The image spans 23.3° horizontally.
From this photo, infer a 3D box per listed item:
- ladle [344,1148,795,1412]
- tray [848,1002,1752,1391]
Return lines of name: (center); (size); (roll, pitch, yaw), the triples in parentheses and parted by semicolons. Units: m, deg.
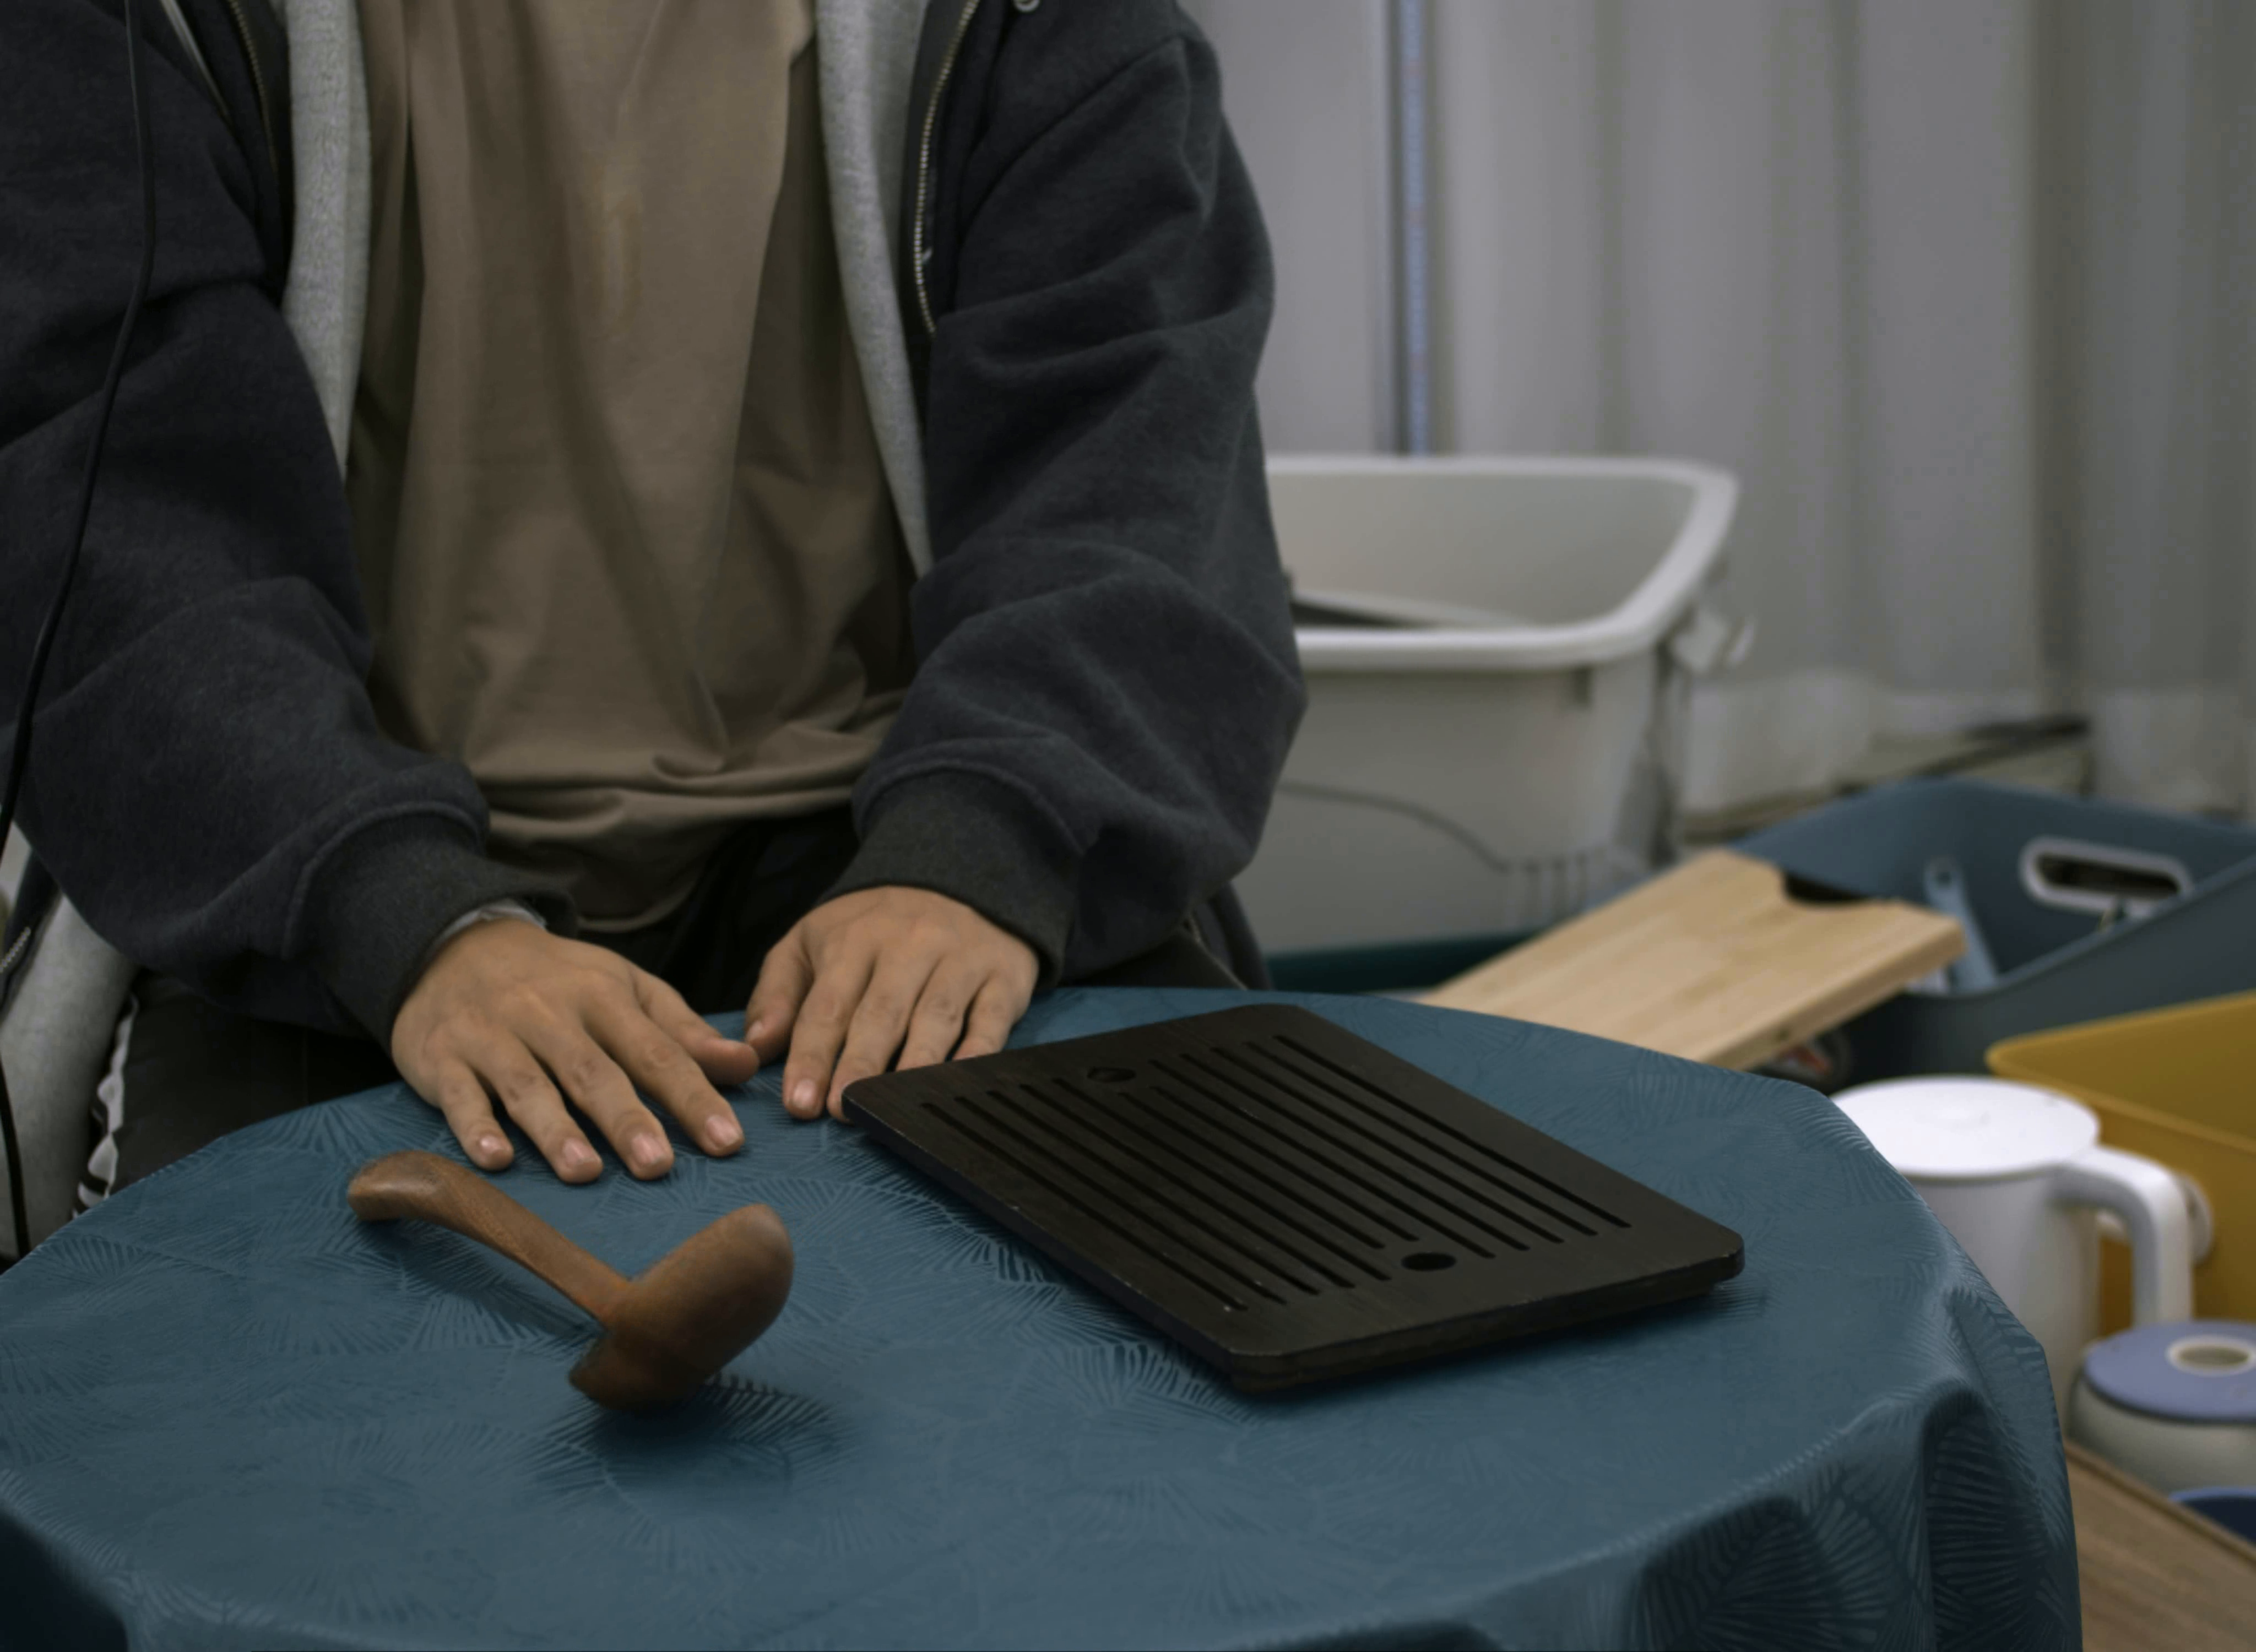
ladle: (-0.179, 0.117, 1.619); (0.076, 0.064, 0.262); (-32, 27, -23)
tray: (0.046, 0.110, 1.689); (0.169, 0.018, 0.308); (-10, 16, -23)
